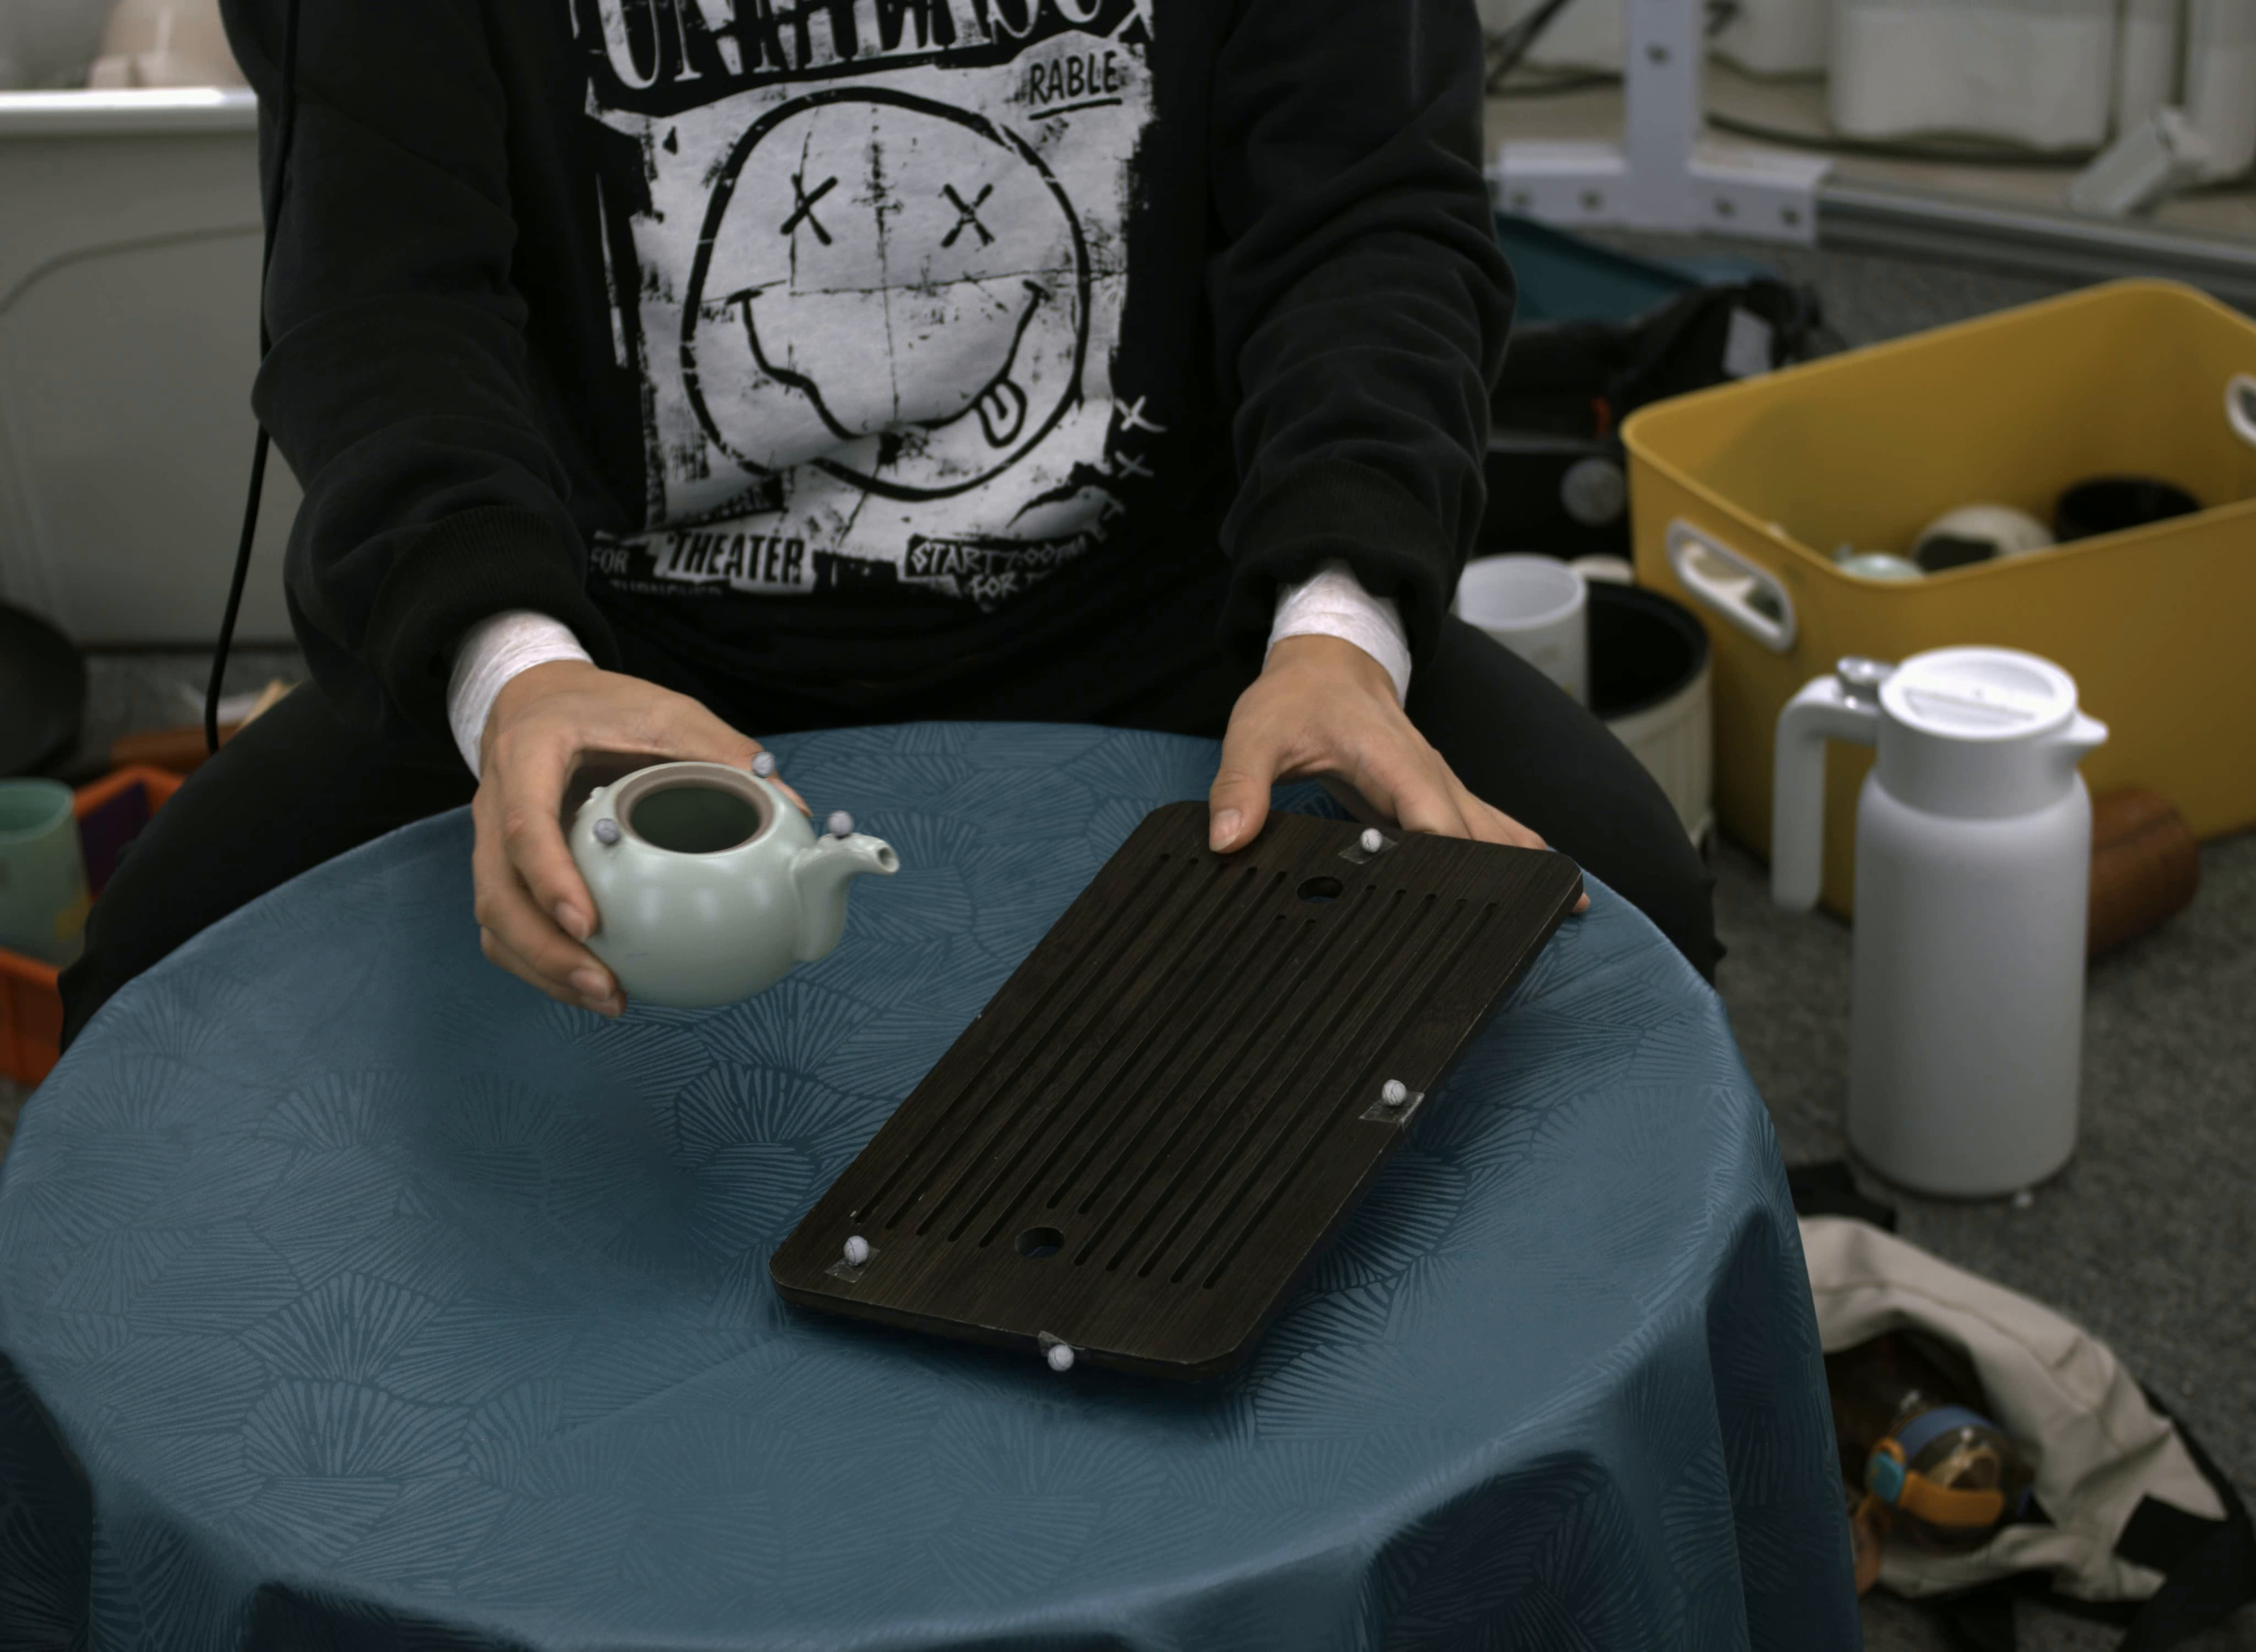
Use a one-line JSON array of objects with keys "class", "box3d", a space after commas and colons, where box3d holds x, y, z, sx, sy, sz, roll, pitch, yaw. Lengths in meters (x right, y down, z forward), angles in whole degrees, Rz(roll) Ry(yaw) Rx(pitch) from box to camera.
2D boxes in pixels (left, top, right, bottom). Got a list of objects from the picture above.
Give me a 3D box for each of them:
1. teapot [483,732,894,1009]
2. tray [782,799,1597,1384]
[{"class": "teapot", "box3d": [-0.146, 0.018, 1.851, 0.143, 0.074, 0.090, 18, 34, 15]}, {"class": "tray", "box3d": [0.026, 0.085, 1.875, 0.169, 0.018, 0.311, 8, 34, 26]}]
